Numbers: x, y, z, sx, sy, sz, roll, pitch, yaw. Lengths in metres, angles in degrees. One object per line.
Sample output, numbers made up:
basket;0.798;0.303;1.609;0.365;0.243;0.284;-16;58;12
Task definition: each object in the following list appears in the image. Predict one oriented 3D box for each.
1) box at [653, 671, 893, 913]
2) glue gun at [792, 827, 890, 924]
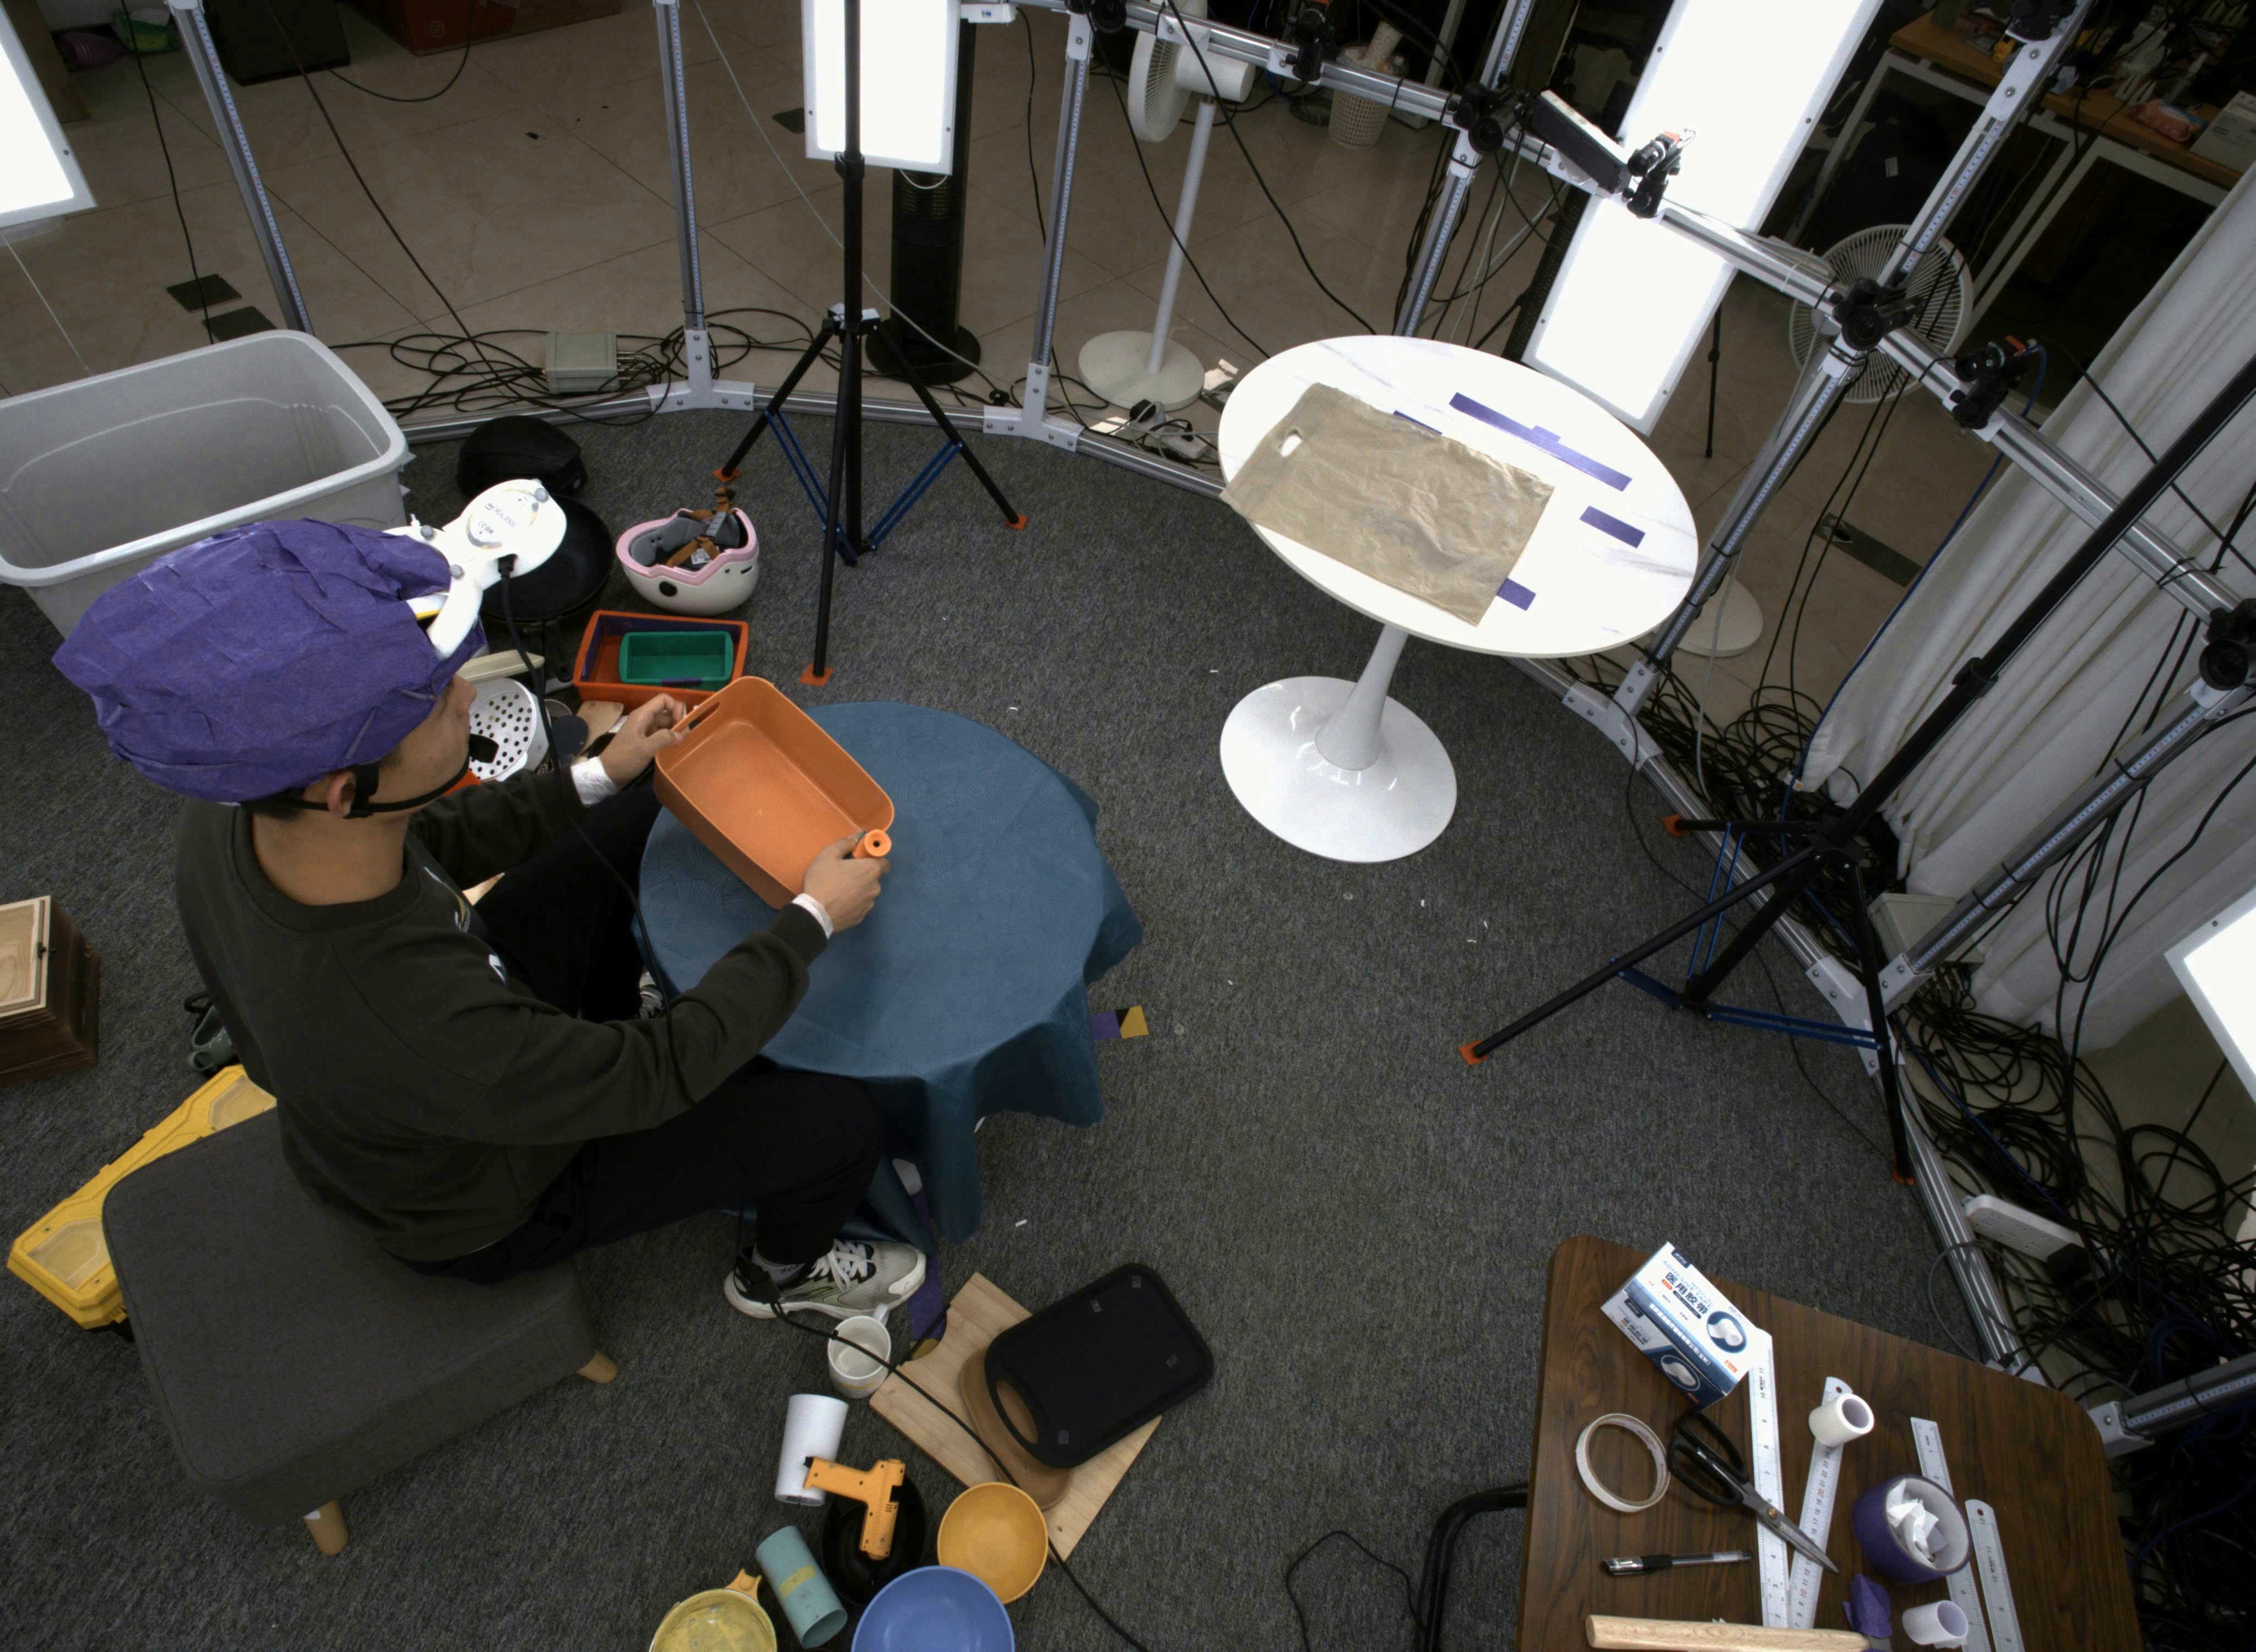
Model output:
box;-0.453;-0.035;1.625;0.276;0.102;0.199;44;55;-8
glue gun;-0.333;0.050;1.540;0.041;0.116;0.139;46;61;-7
